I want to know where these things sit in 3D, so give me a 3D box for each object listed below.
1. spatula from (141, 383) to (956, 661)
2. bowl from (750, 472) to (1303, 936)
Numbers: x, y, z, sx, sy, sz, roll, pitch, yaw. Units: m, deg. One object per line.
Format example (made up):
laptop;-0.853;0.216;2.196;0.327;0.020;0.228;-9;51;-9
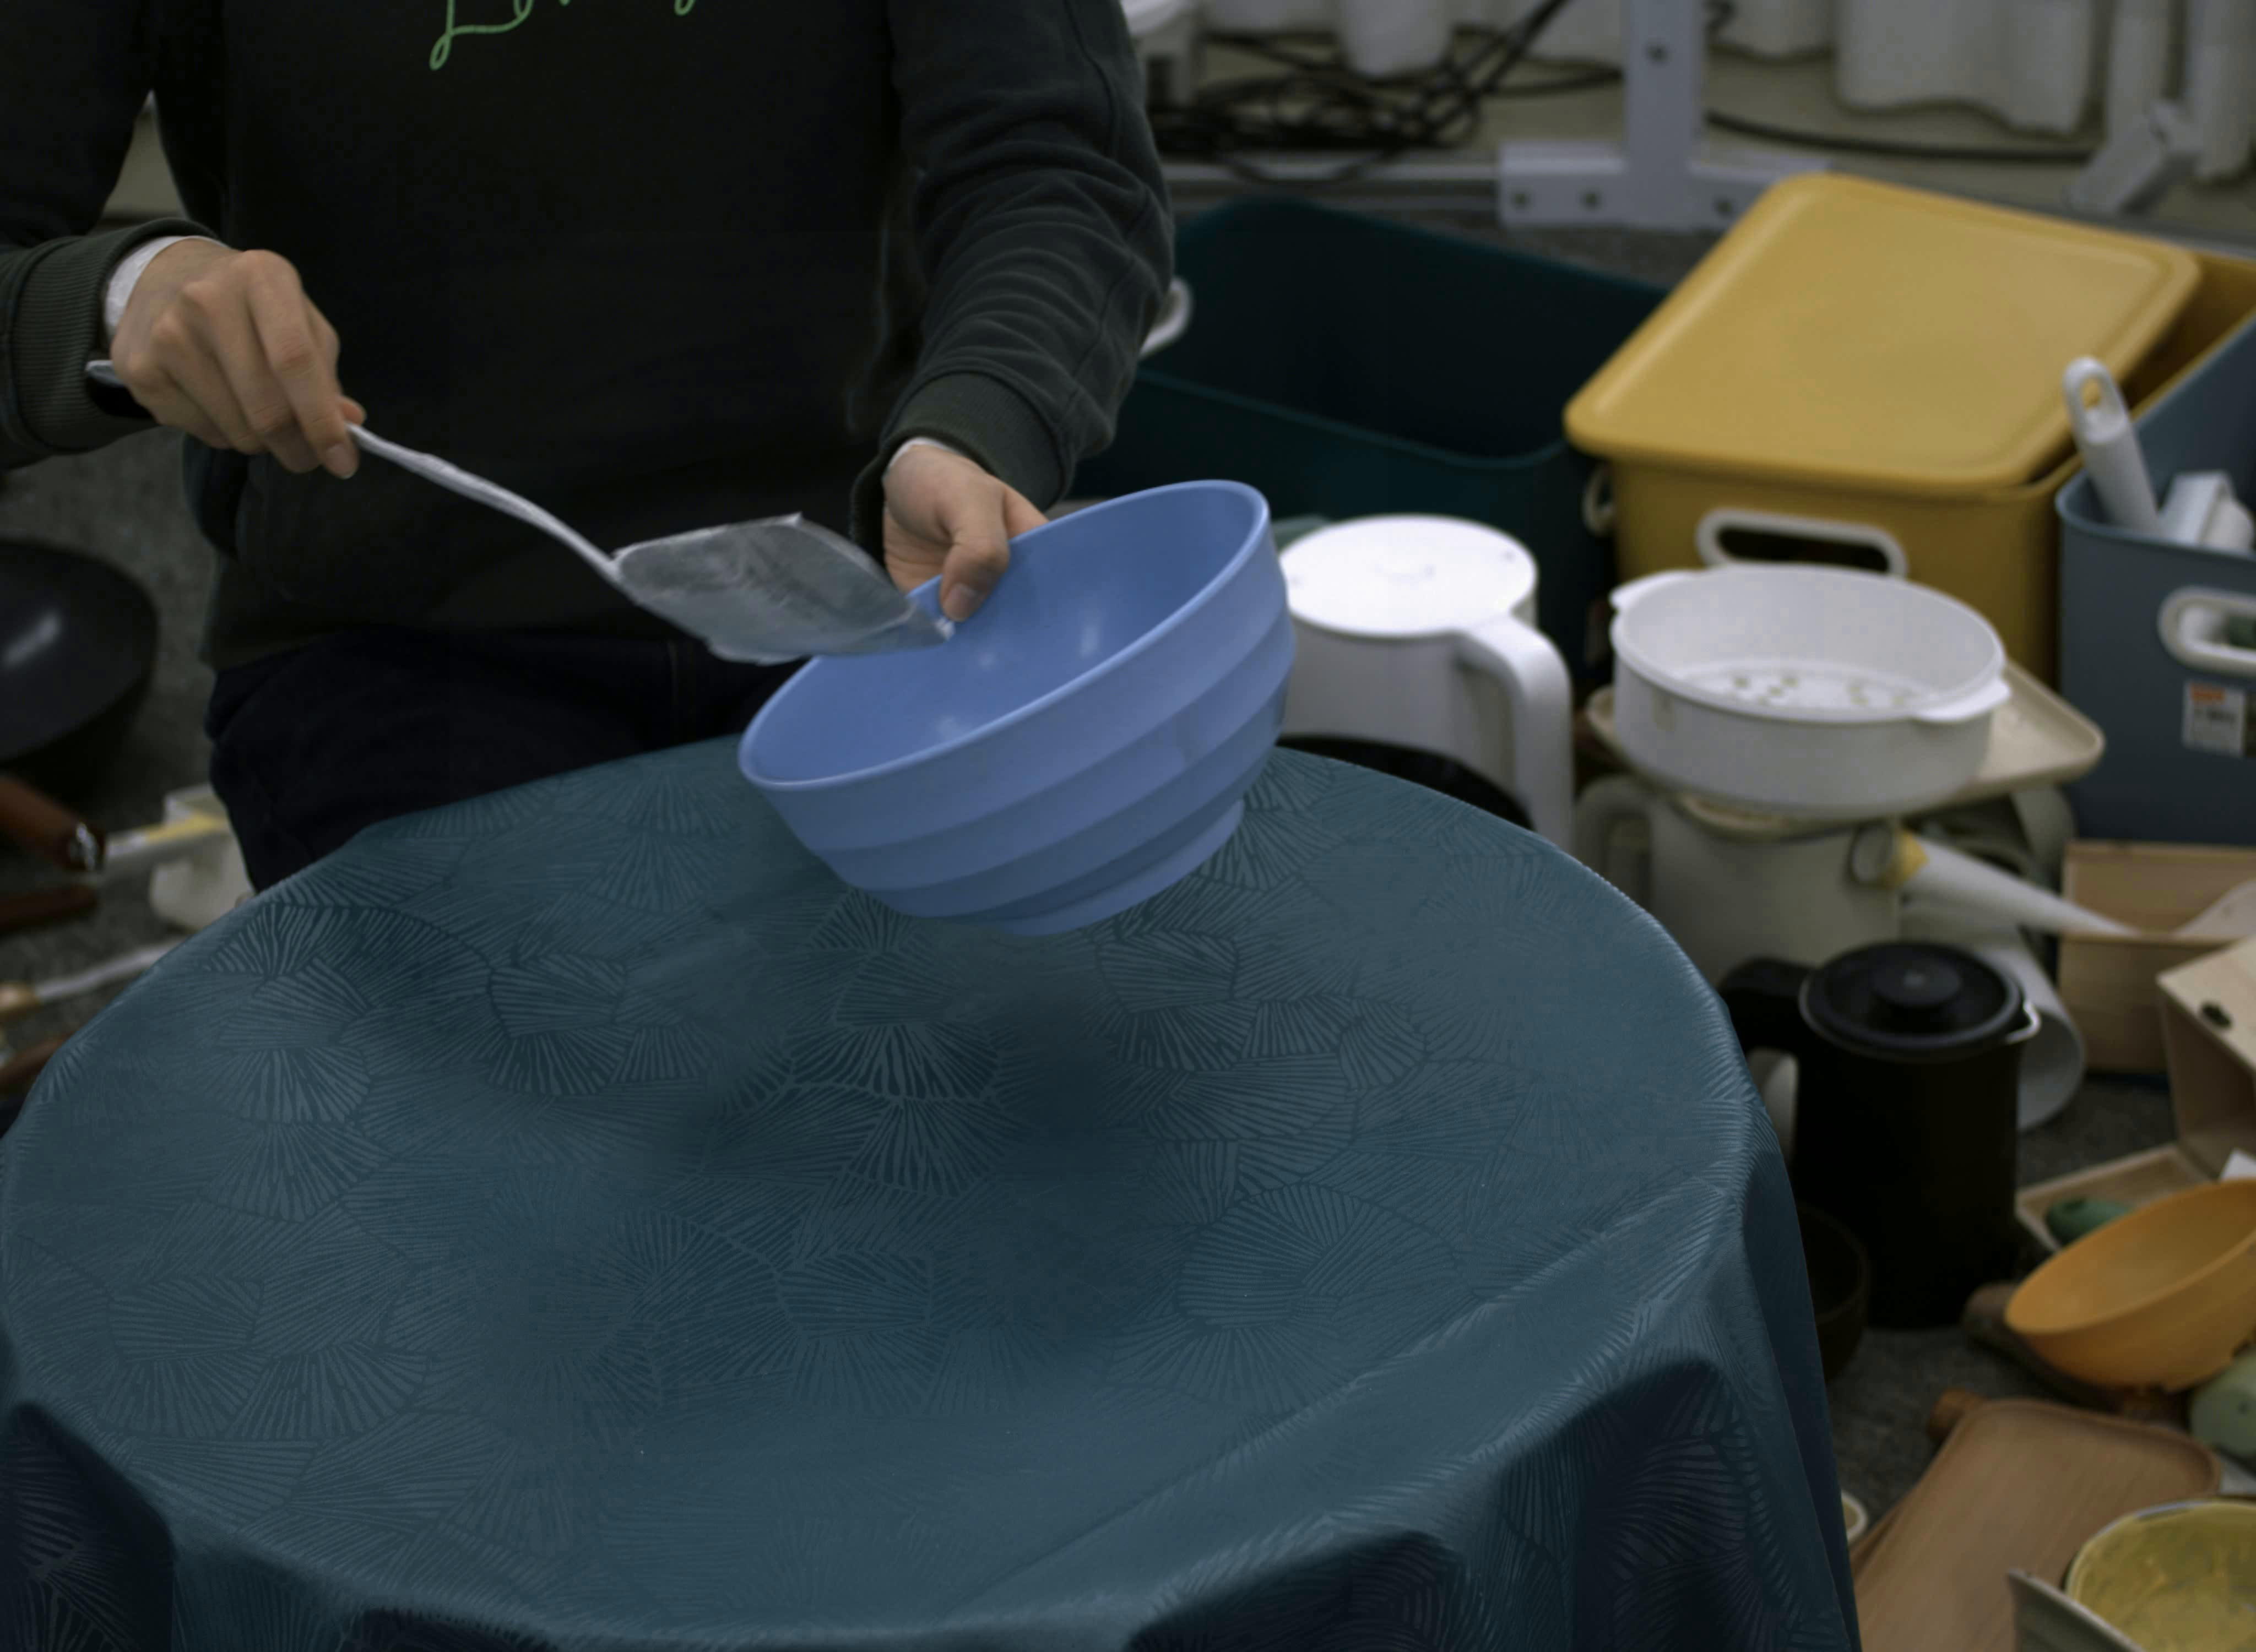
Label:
spatula;-0.212;-0.113;1.886;0.364;0.045;0.098;23;-8;37
bowl;-0.019;-0.027;1.881;0.195;0.095;0.199;-26;18;9
